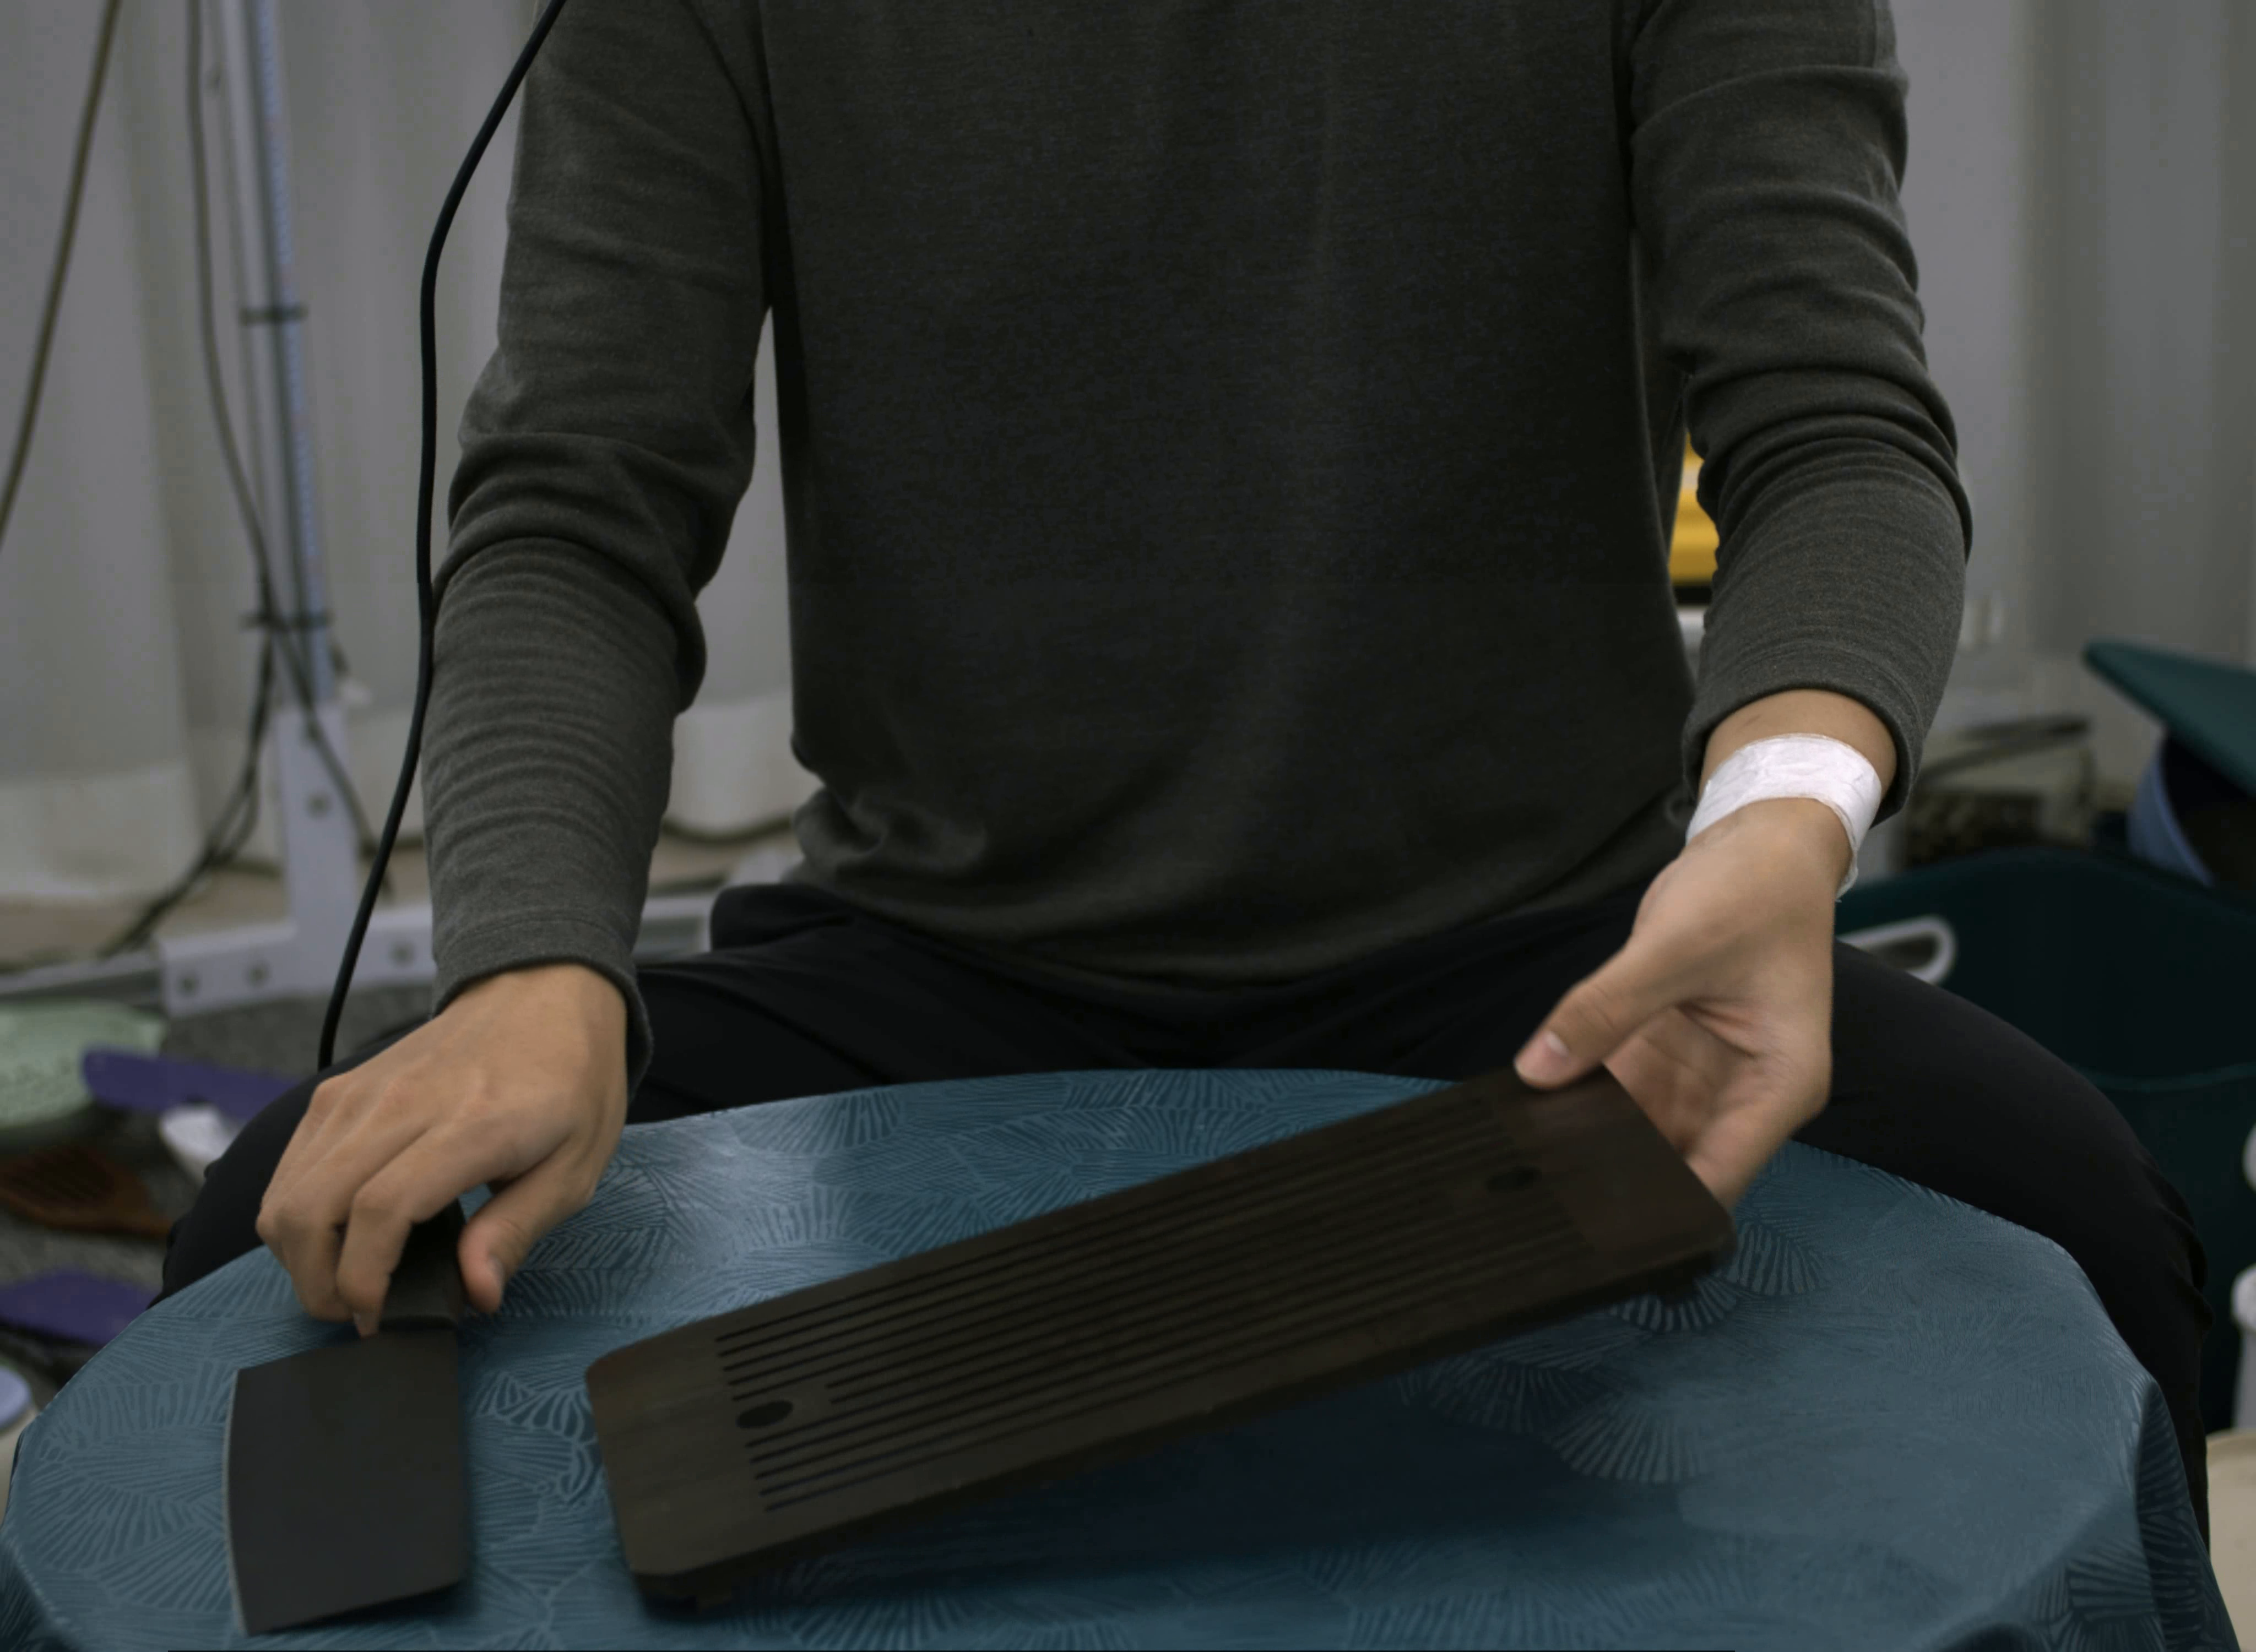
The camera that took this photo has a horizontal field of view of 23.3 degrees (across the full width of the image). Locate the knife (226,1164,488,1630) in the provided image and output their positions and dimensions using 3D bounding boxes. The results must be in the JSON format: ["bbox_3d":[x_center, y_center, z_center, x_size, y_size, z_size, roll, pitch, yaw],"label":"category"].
[{"bbox_3d":[-0.216,0.158,1.549,0.080,0.021,0.305,-11,18,-1],"label":"knife"}]

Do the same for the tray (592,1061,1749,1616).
[{"bbox_3d":[0.007,0.137,1.486,0.305,0.018,0.171,-17,17,-5],"label":"tray"}]
